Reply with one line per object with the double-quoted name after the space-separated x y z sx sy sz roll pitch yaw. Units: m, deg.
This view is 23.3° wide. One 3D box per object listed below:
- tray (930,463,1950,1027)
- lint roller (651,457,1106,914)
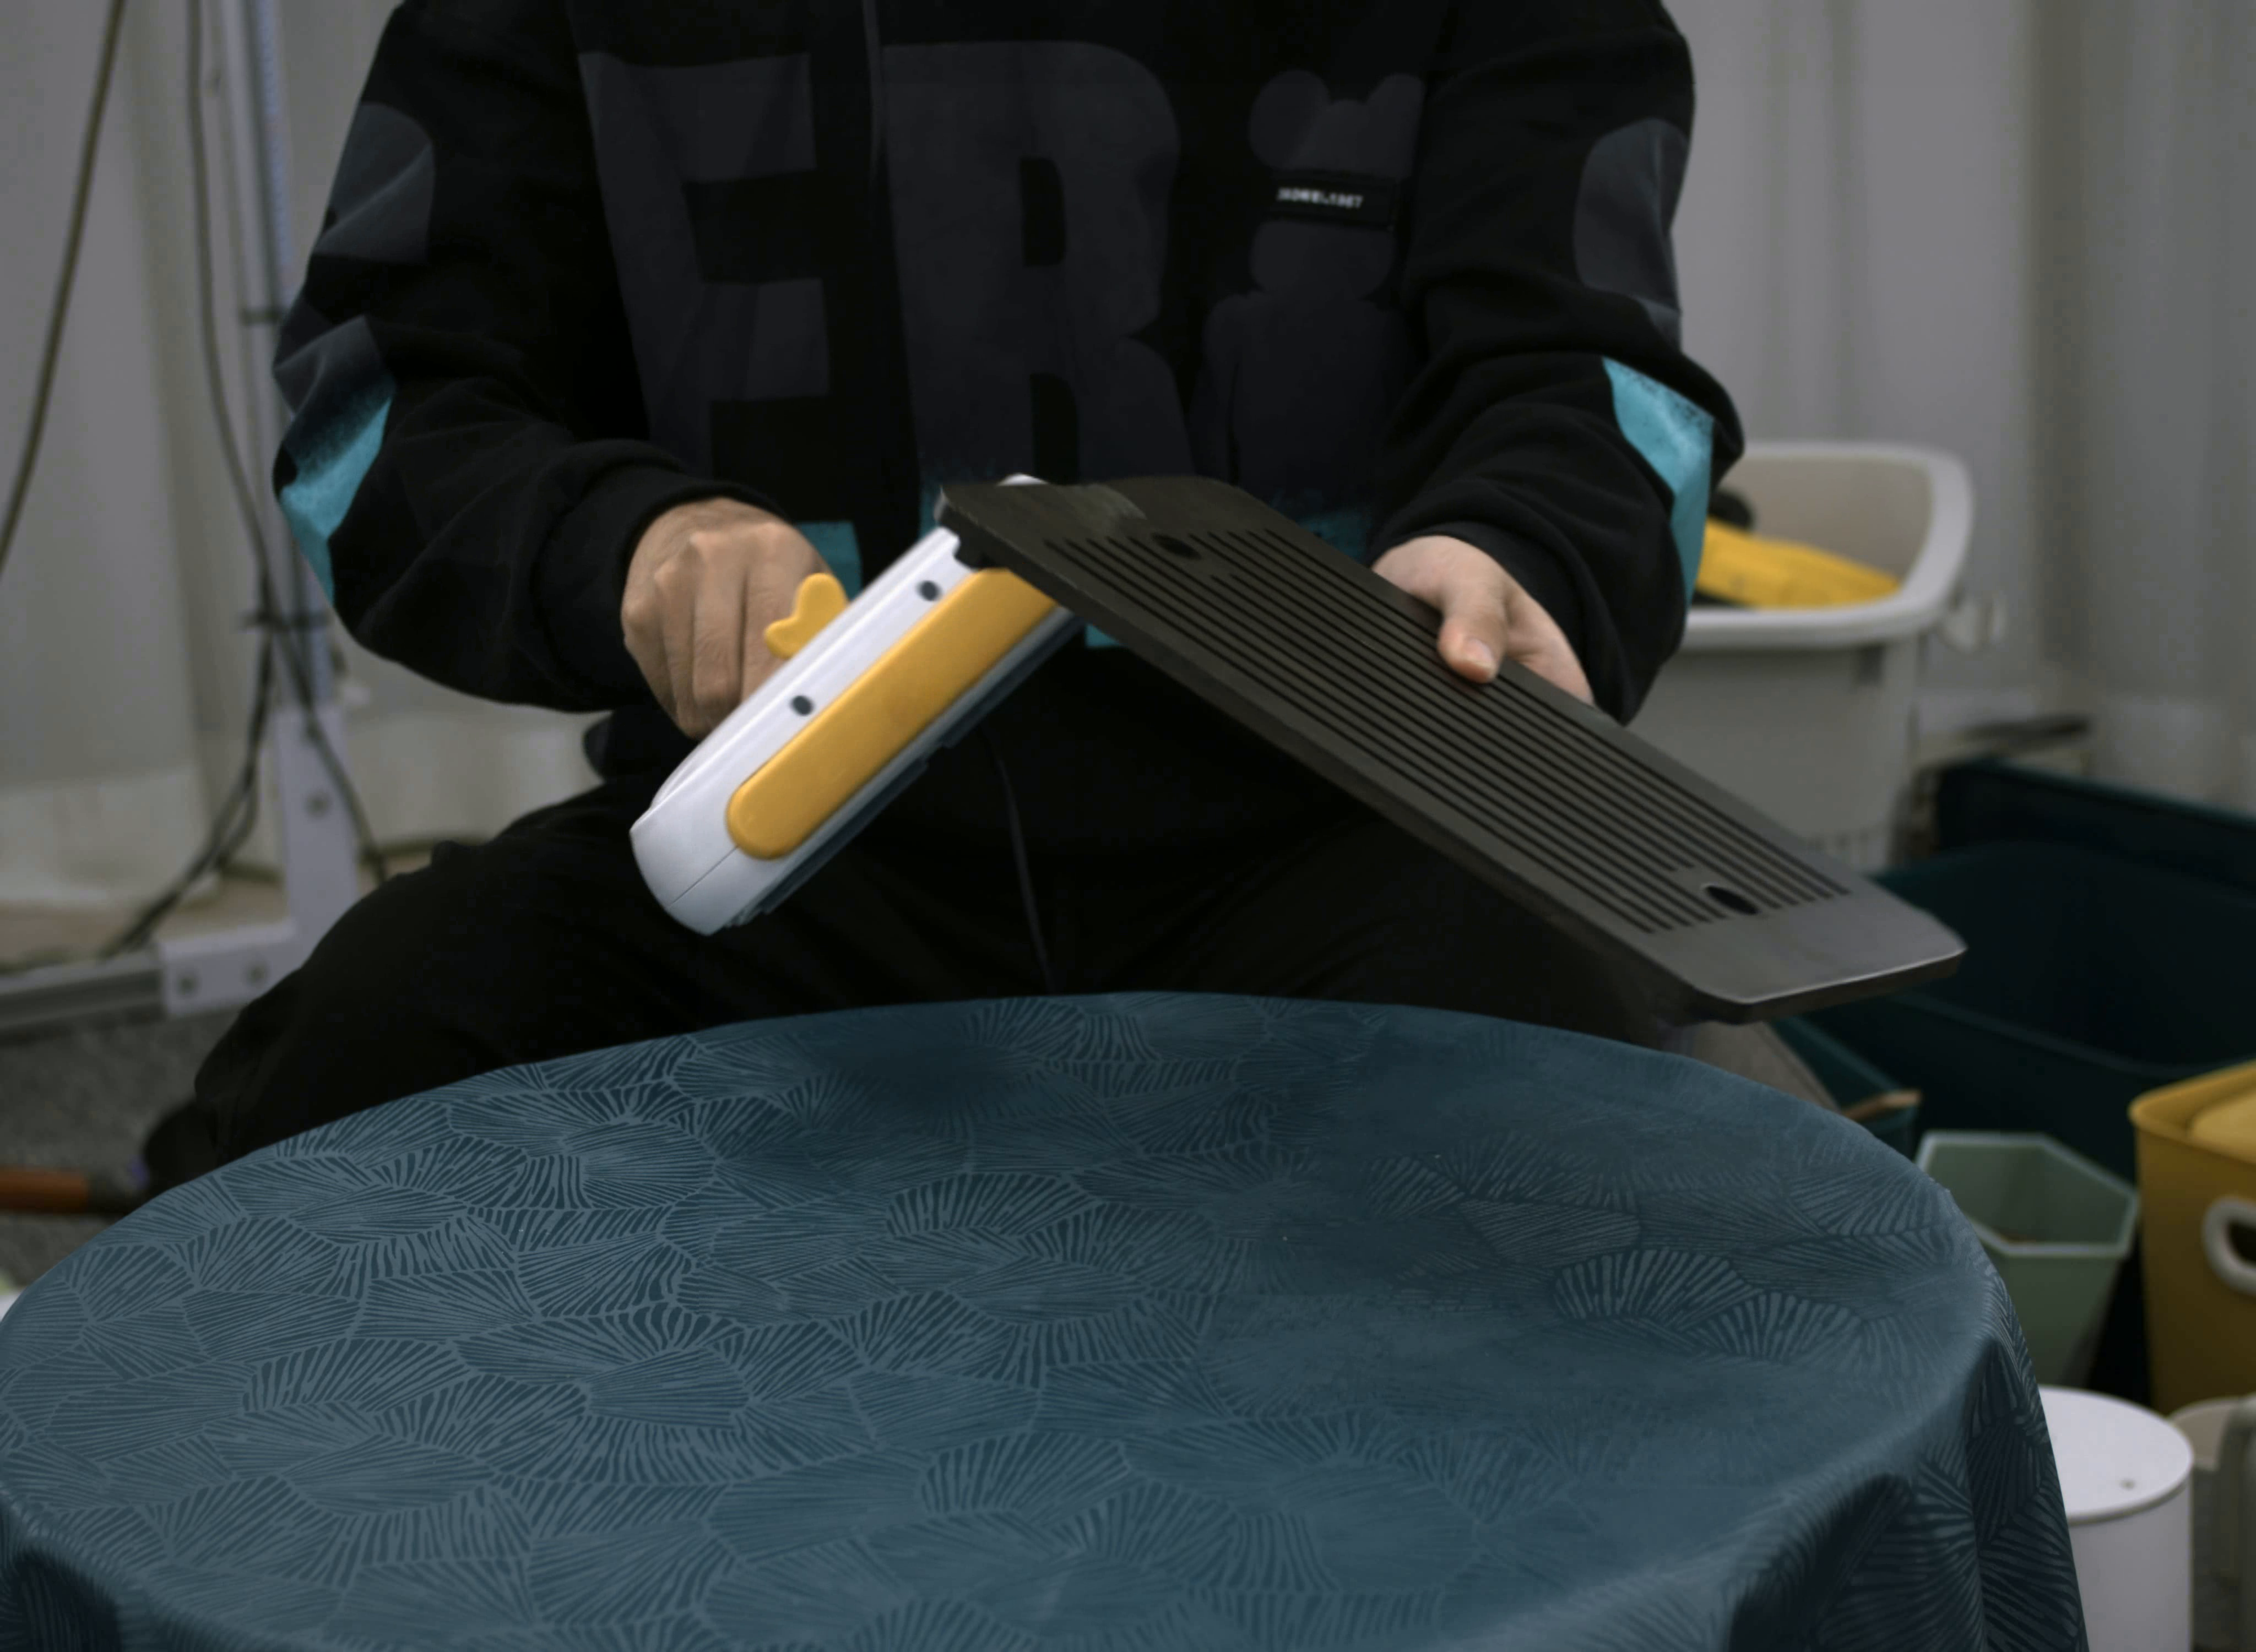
0.092 -0.027 1.644 0.308 0.018 0.169 35 21 26 "tray"
-0.104 -0.049 1.855 0.194 0.074 0.192 -48 15 -19 "lint roller"
